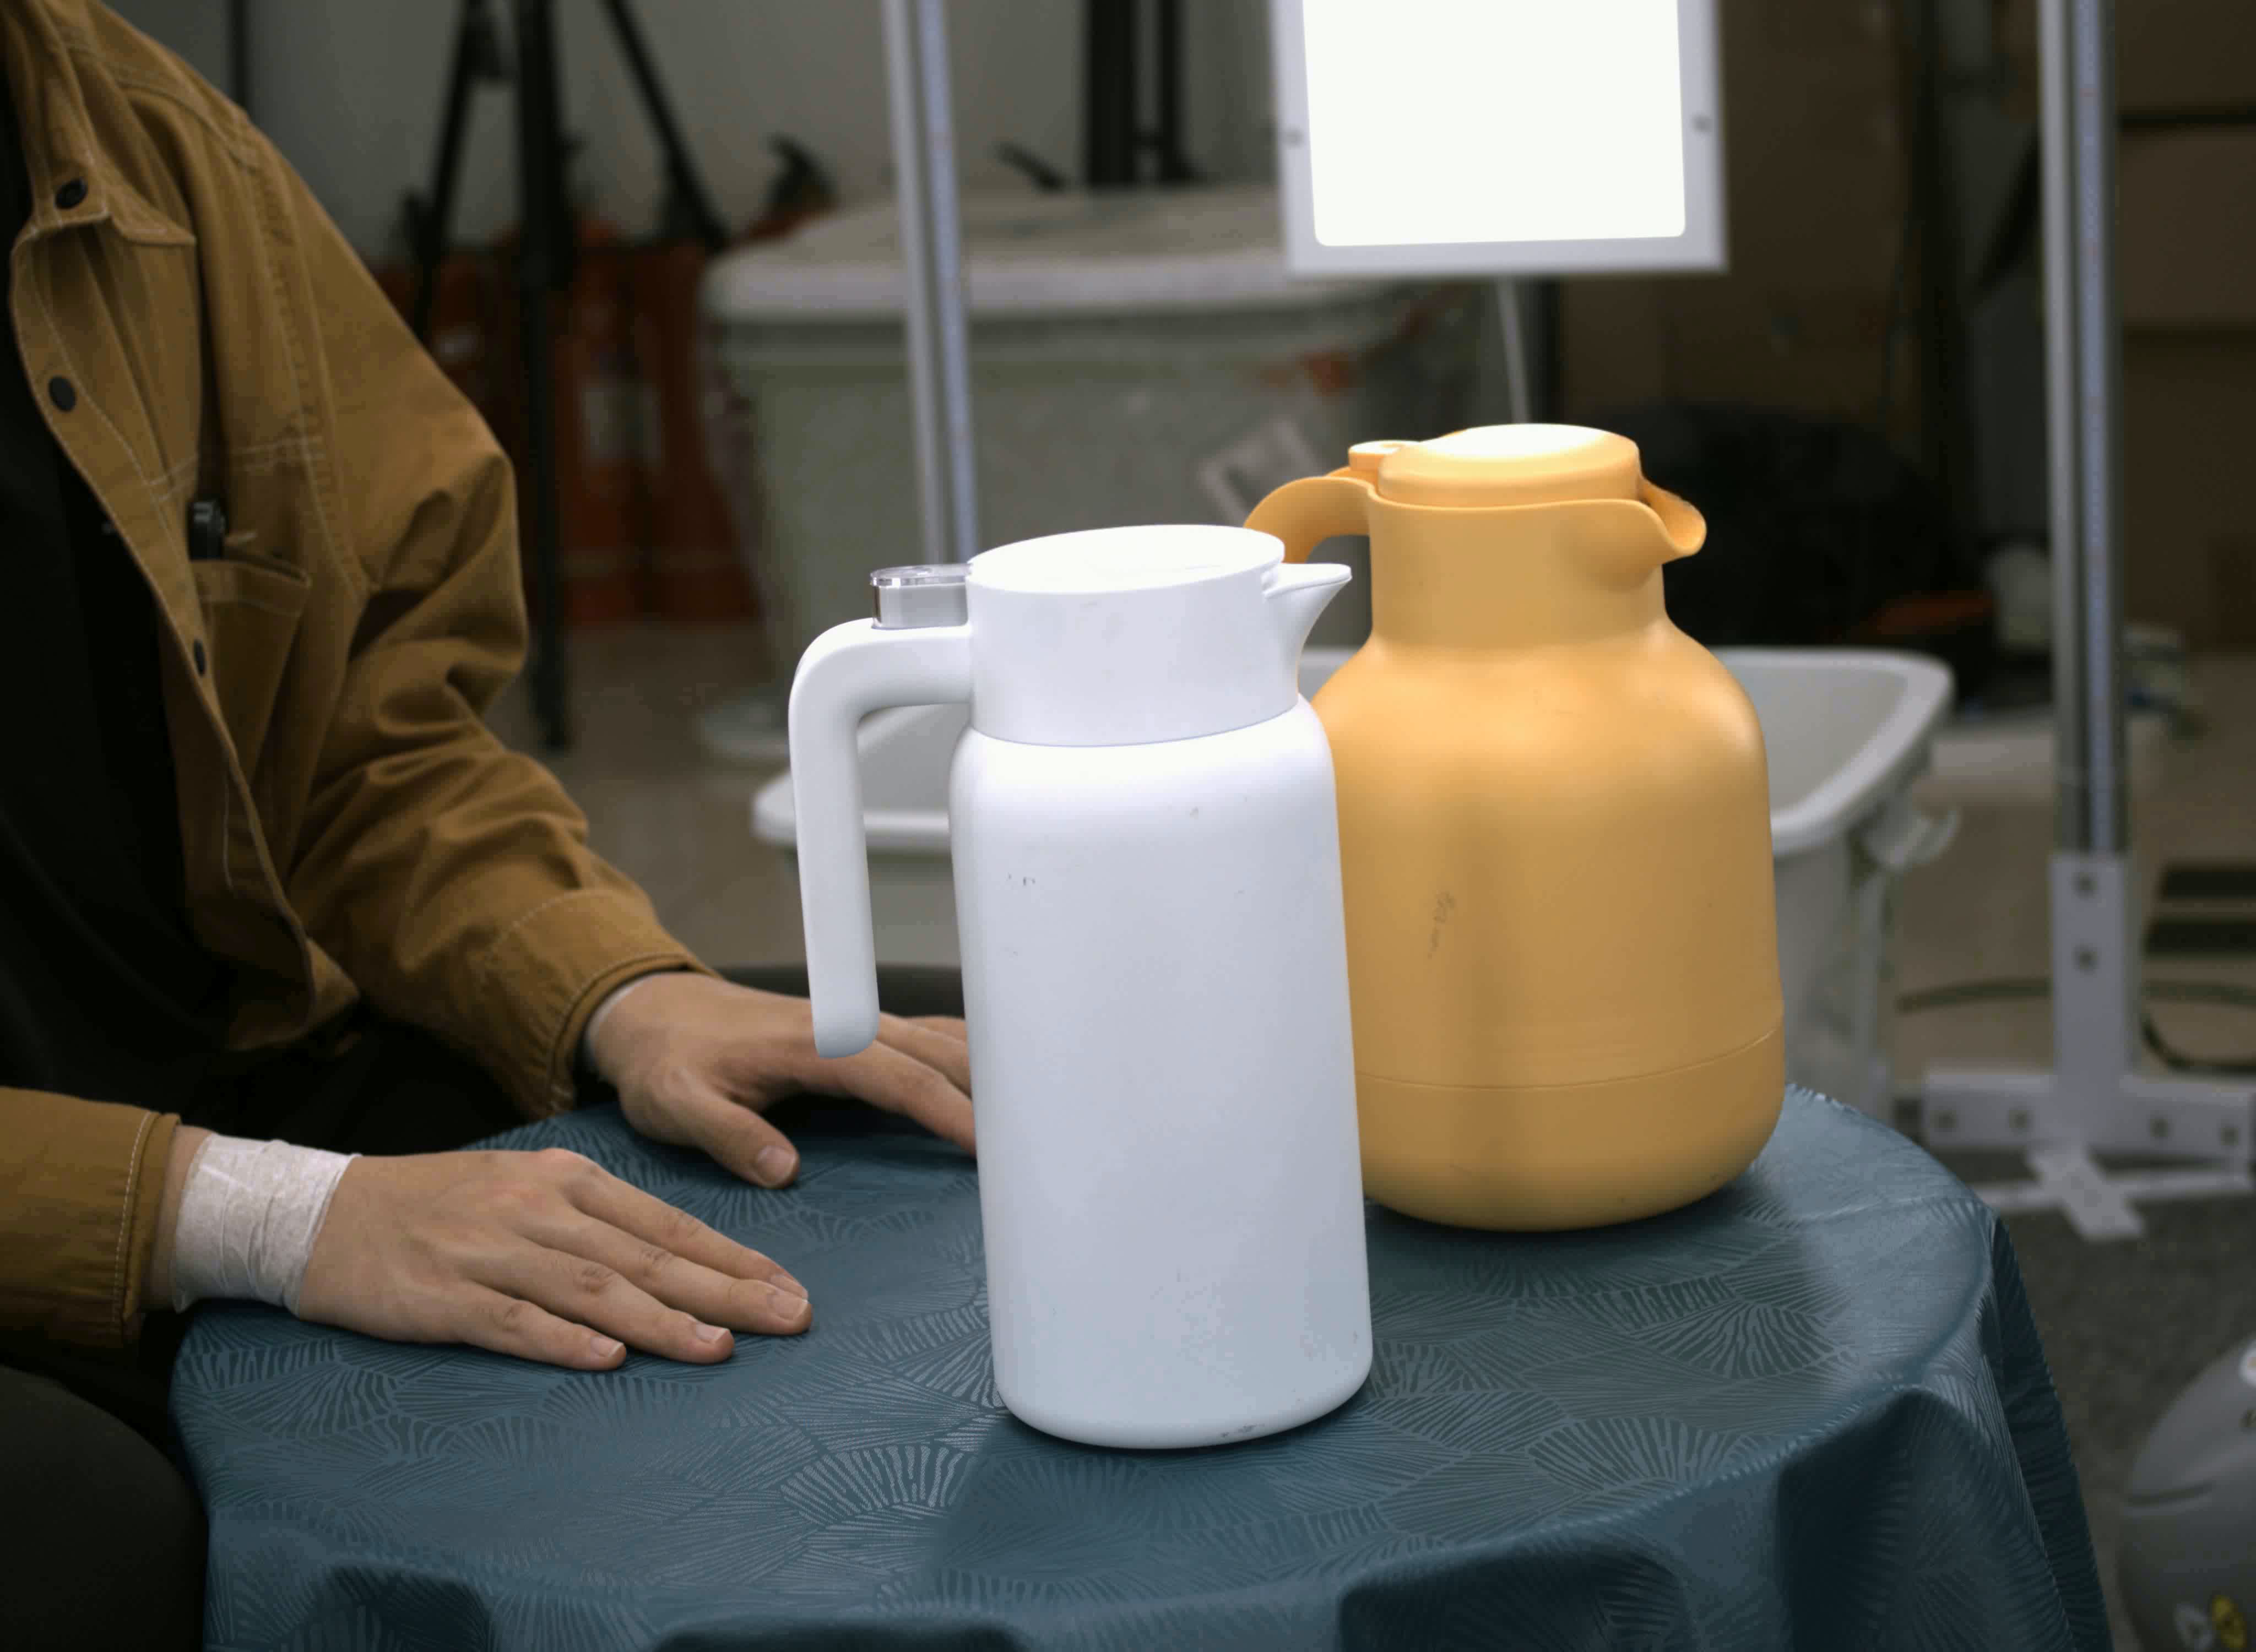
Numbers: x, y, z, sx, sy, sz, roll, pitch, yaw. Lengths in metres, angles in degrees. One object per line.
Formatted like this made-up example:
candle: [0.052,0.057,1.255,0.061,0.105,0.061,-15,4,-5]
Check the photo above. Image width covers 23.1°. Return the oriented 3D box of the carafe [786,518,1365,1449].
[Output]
carafe: [-0.011,0.048,1.662,0.172,0.270,0.123,-4,16,2]

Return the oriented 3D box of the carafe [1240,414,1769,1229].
carafe: [0.120,-0.008,1.849,0.159,0.261,0.207,-13,18,-42]
